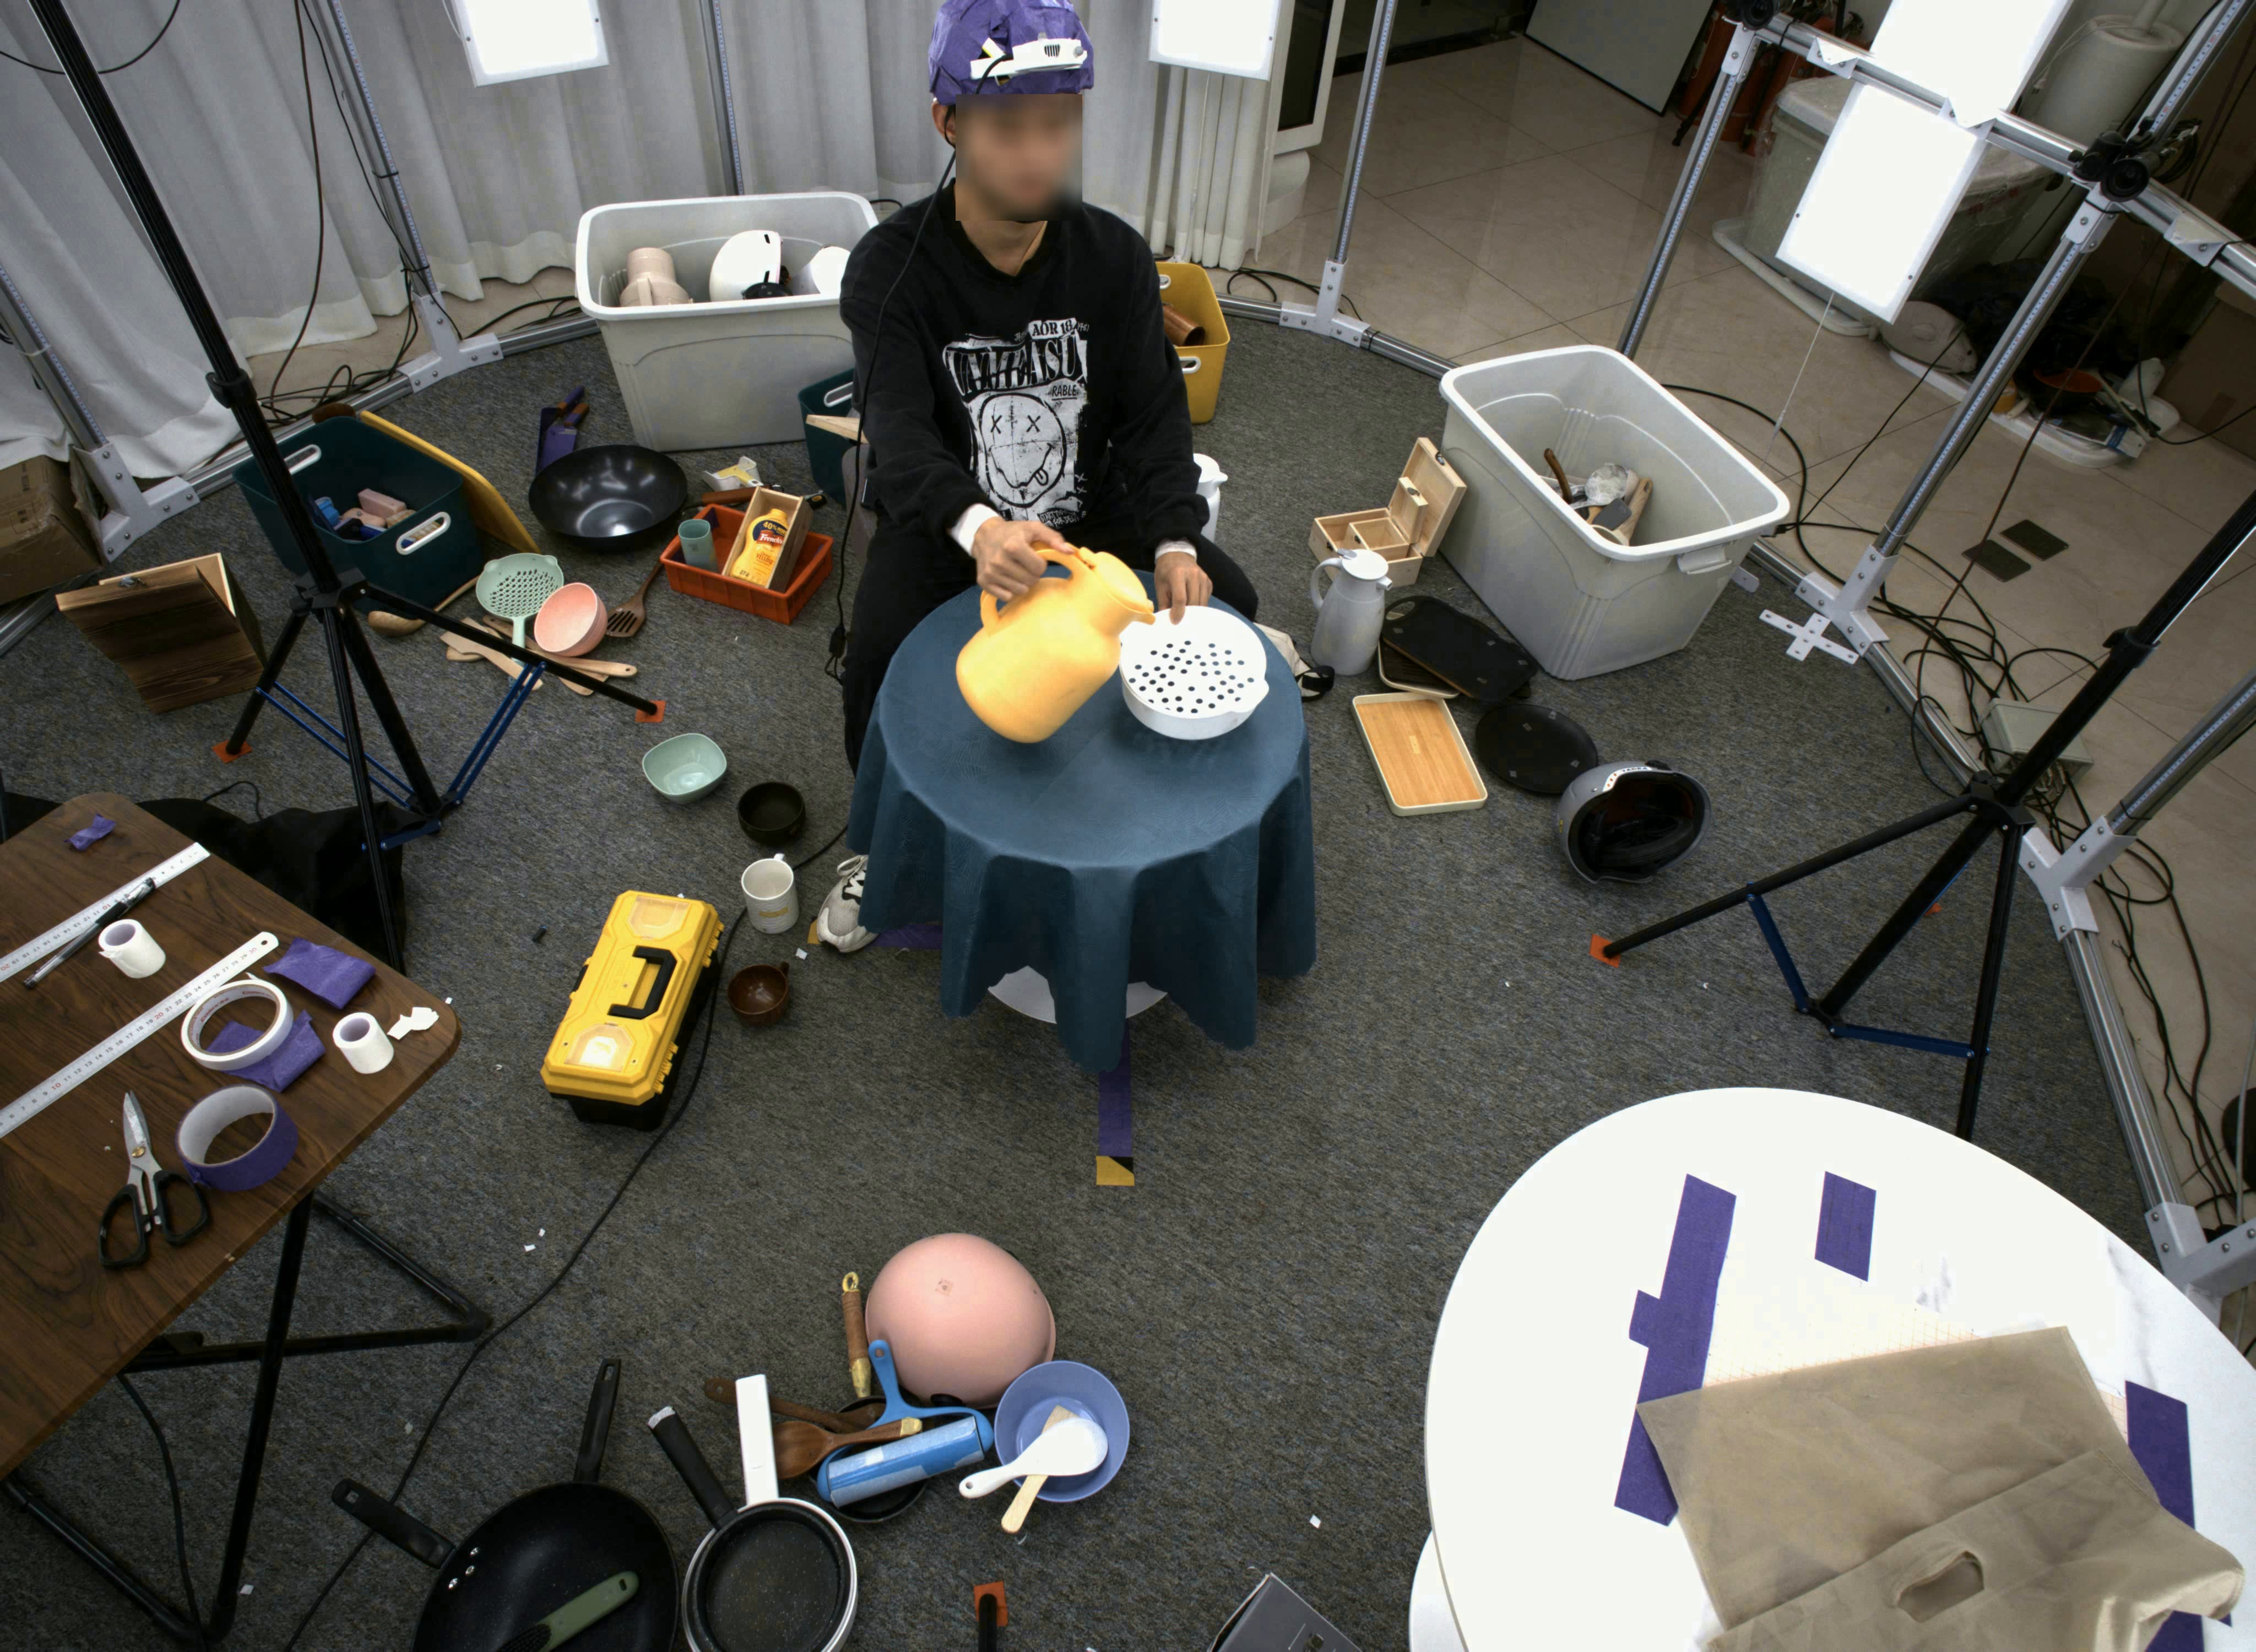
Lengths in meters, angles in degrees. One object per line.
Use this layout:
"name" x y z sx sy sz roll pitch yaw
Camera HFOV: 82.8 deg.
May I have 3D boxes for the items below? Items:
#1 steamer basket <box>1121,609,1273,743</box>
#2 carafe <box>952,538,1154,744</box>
"steamer basket" 0.093 -0.206 1.771 0.233 0.067 0.204 34 63 22
"carafe" -0.108 -0.245 1.637 0.199 0.258 0.167 35 28 -27
